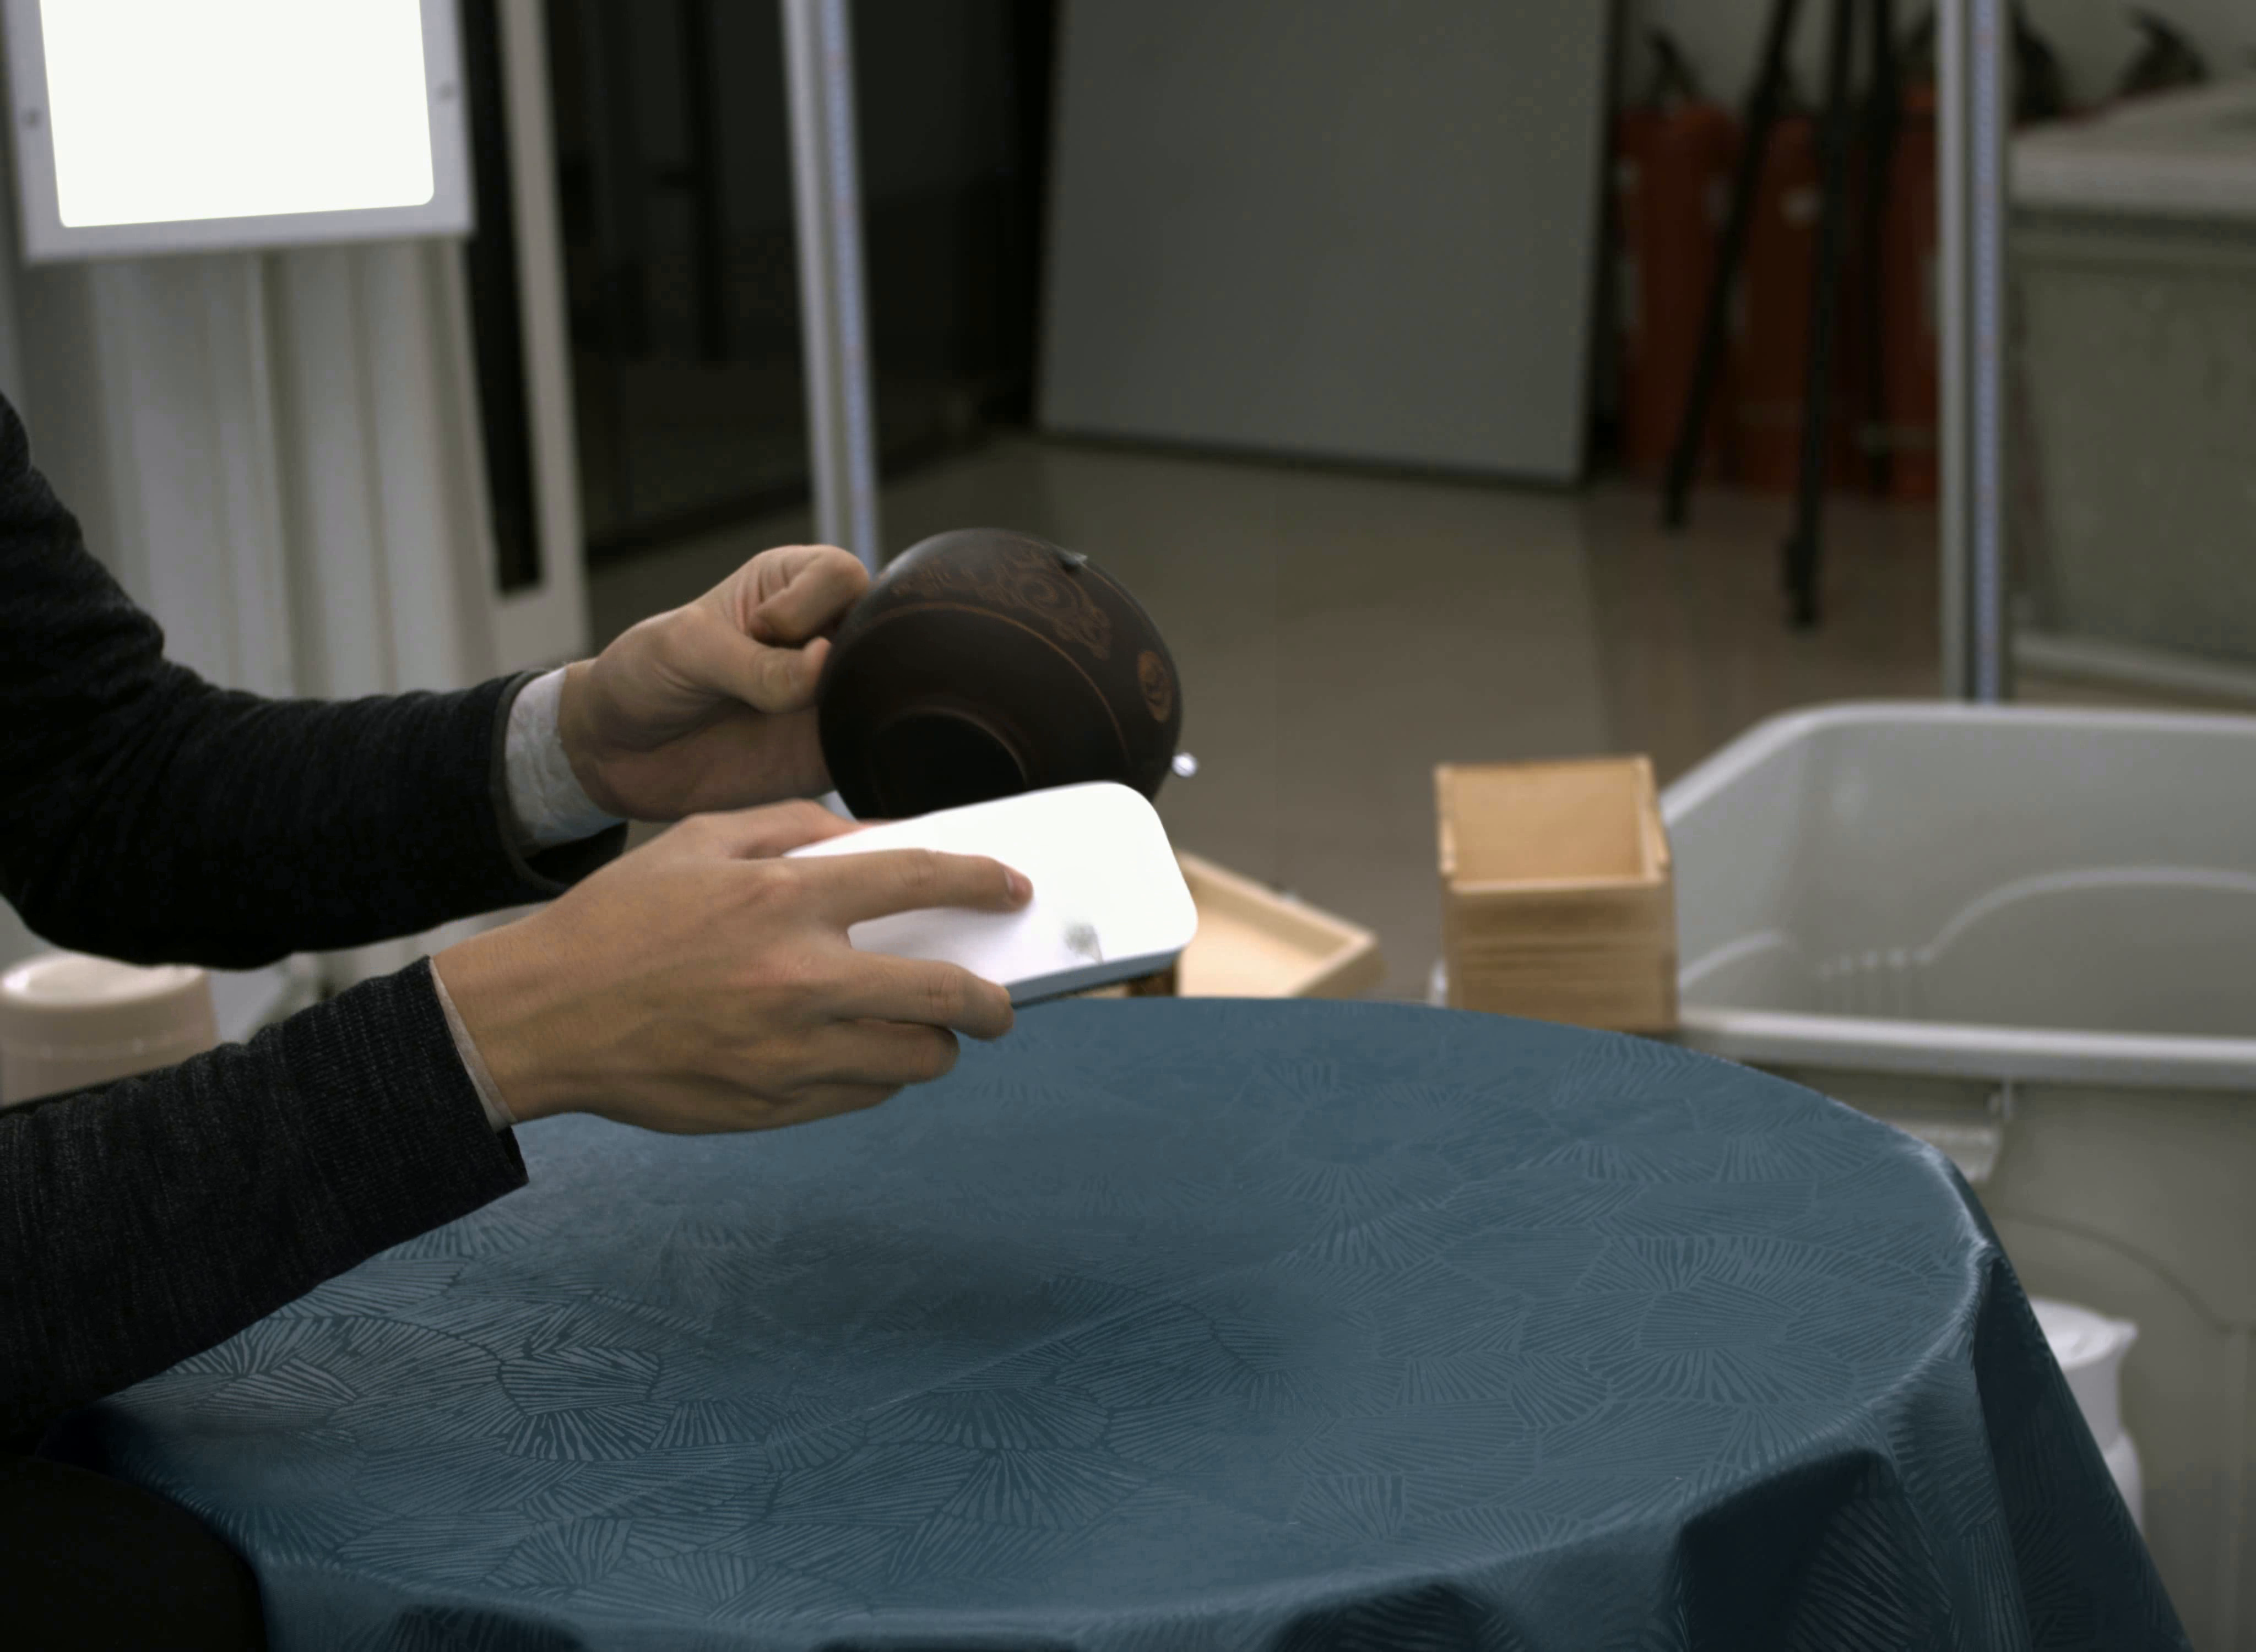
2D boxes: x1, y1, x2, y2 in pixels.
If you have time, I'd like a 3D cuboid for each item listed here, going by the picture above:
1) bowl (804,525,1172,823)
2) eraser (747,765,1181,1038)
[{"bbox_3d":[-0.049,-0.028,1.714,0.118,0.118,0.070,1,35,19],"label":"bowl"},{"bbox_3d":[-0.050,0.021,1.630,0.128,0.064,0.035,-13,-25,-22],"label":"eraser"}]
